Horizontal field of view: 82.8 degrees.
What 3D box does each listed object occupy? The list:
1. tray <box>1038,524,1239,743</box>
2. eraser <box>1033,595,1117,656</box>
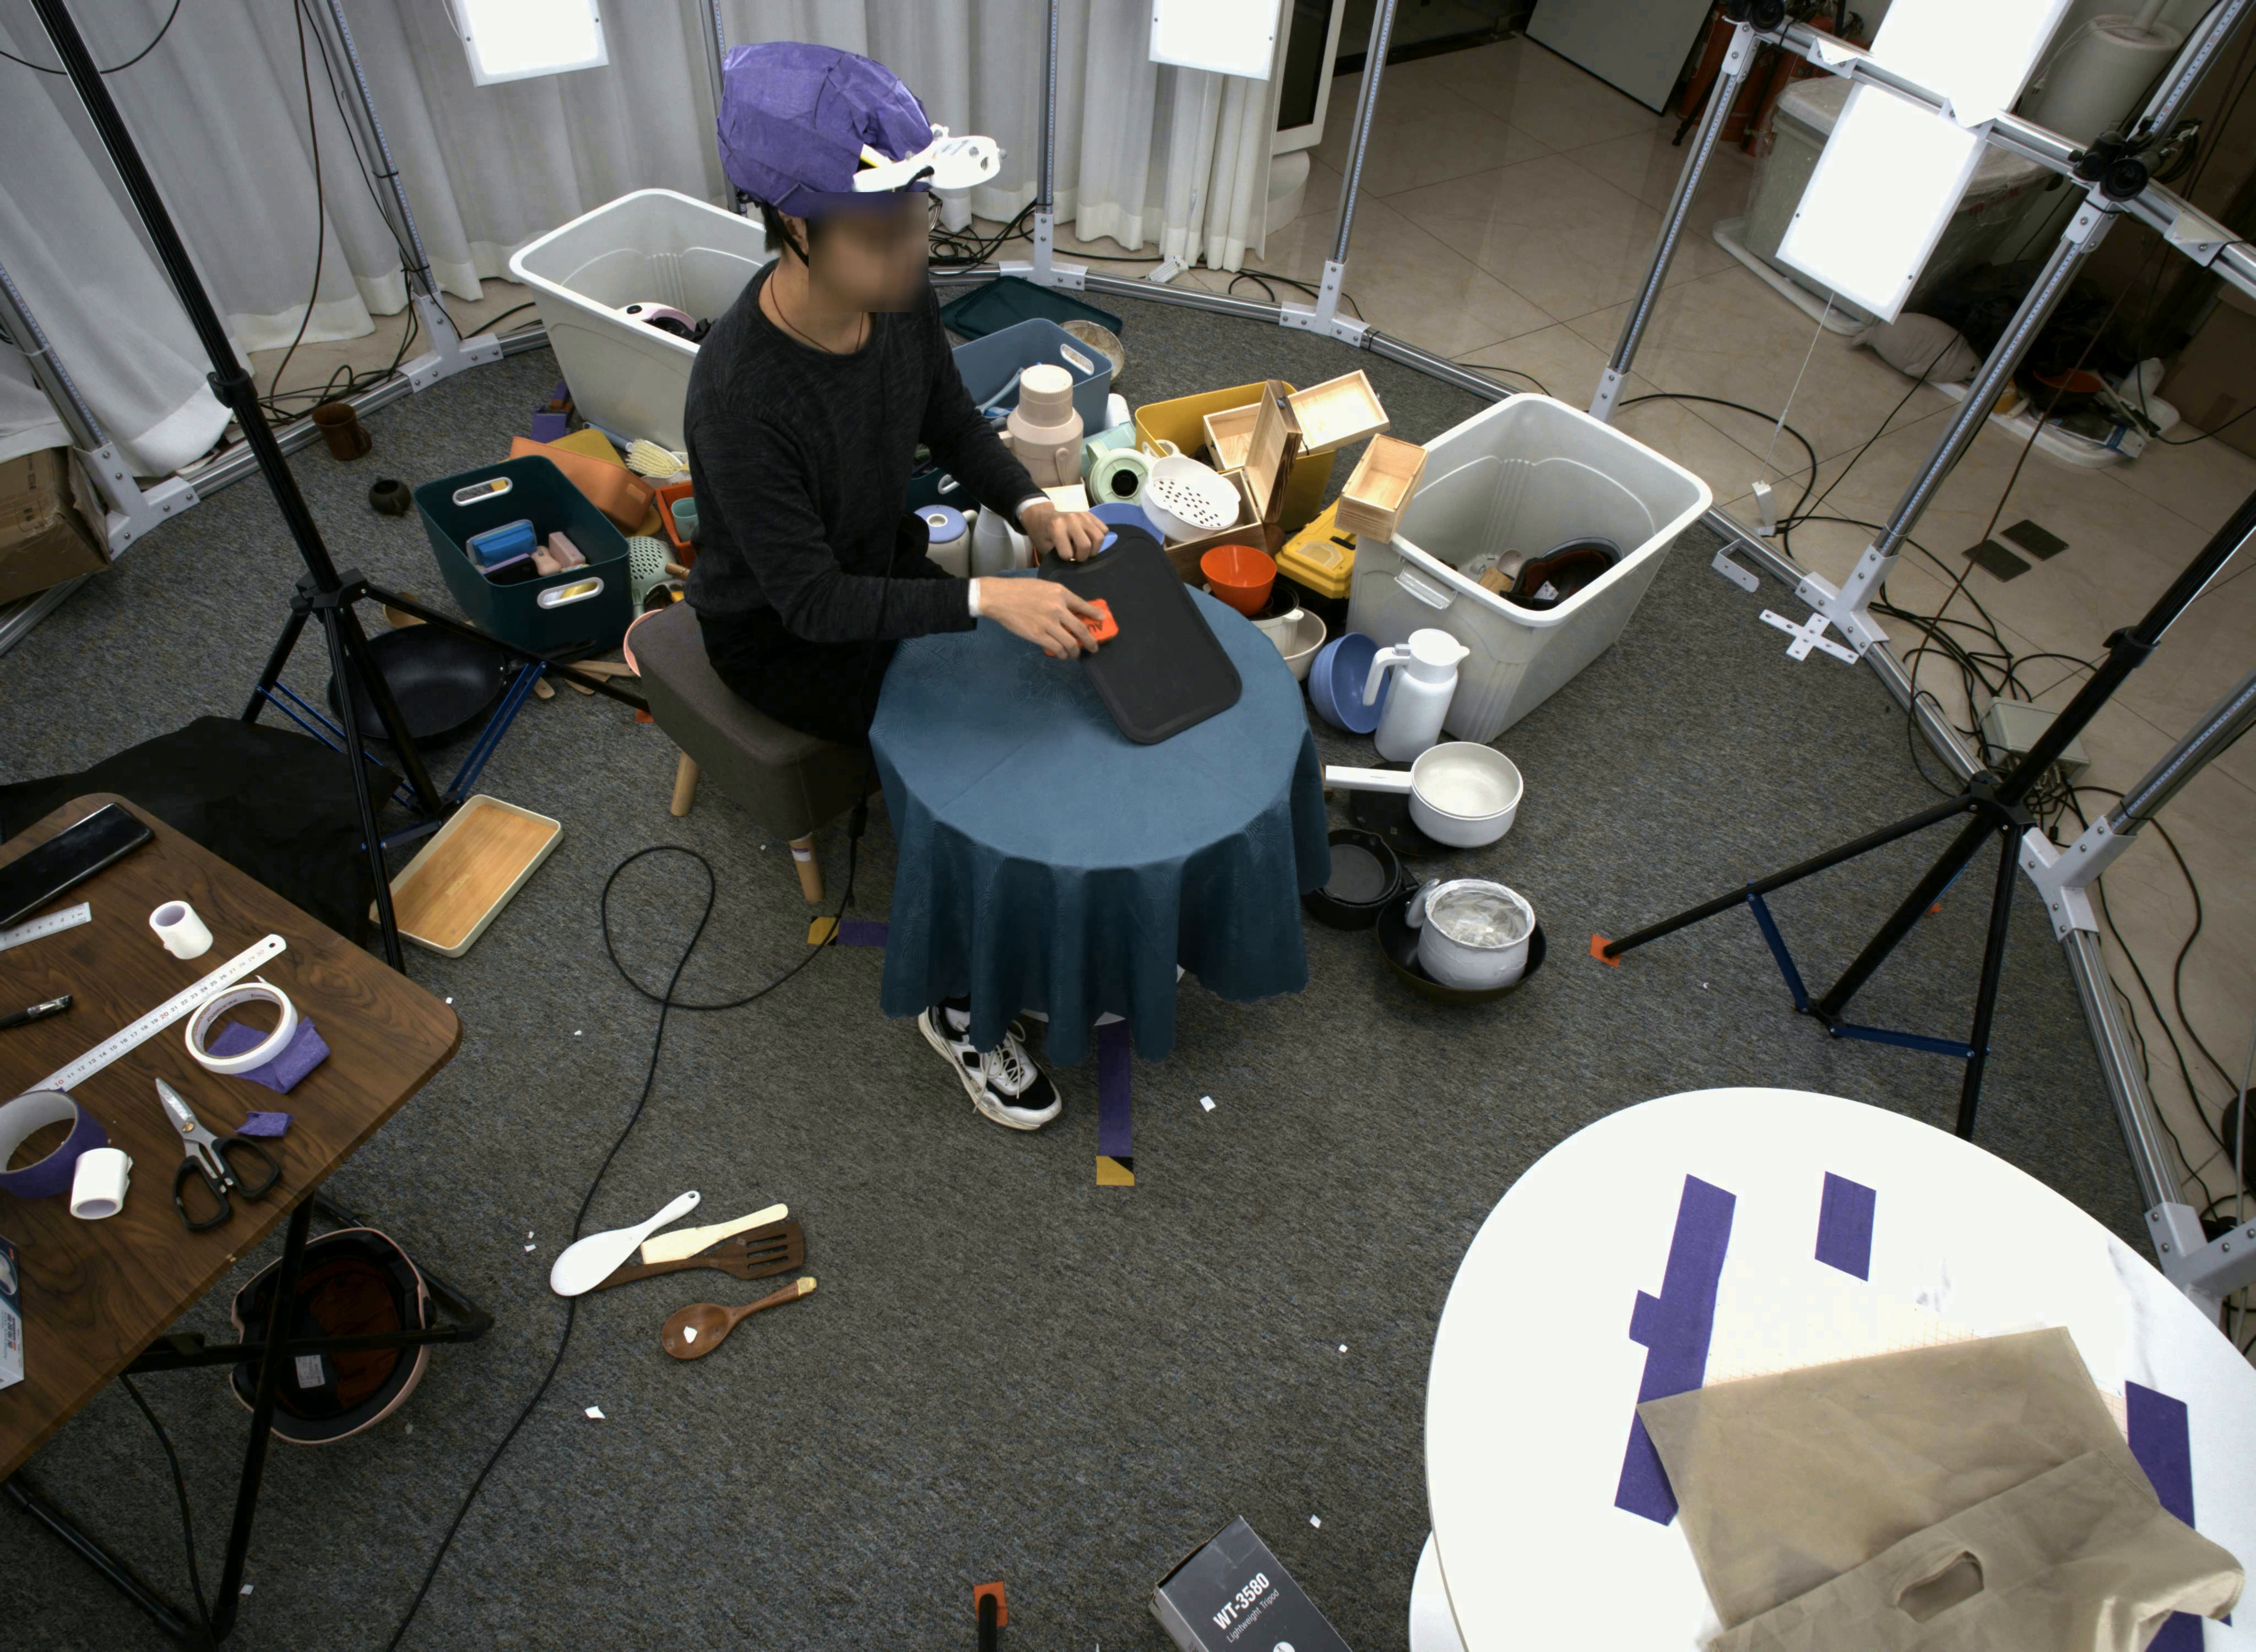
[{"bbox_3d":[0.013,-0.283,1.822,0.212,0.009,0.327,-26,81,-25],"label":"tray"},{"bbox_3d":[-0.073,-0.278,1.777,0.108,0.022,0.059,-22,78,-23],"label":"eraser"}]
